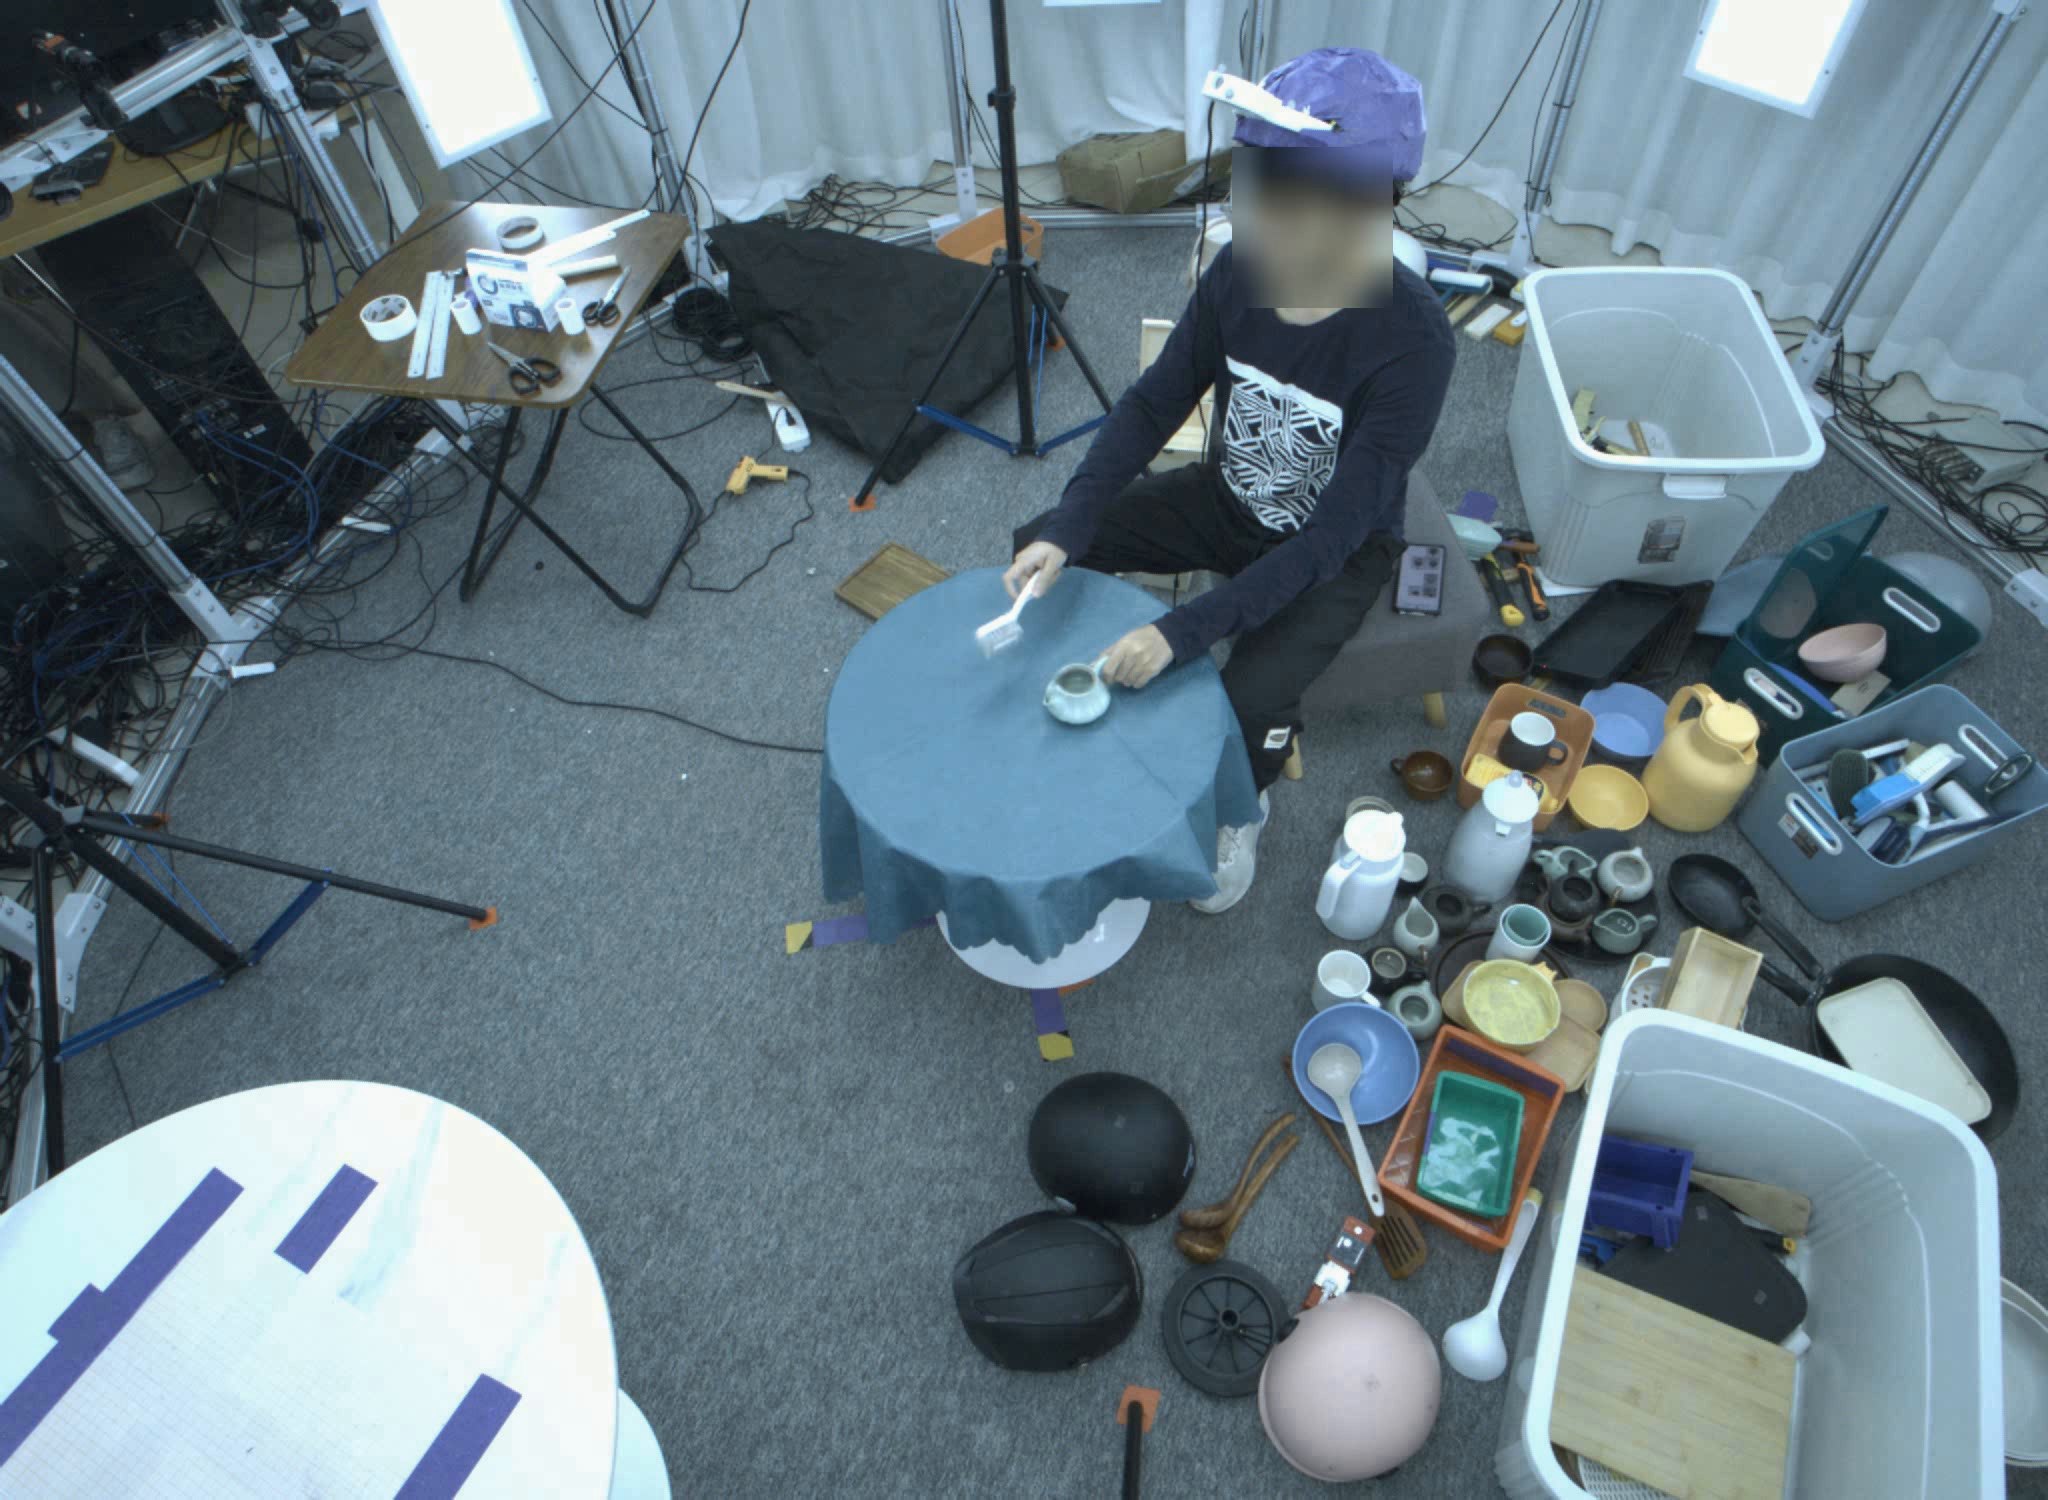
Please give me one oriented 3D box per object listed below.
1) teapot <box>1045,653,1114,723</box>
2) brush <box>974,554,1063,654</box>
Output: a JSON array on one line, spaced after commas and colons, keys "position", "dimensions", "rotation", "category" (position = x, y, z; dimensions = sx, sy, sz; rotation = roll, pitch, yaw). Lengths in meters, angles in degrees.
[{"position": [0.083, -0.089, 1.802], "dimensions": [0.138, 0.062, 0.094], "rotation": [-39, 58, -21], "category": "teapot"}, {"position": [0.007, -0.221, 1.840], "dimensions": [0.049, 0.034, 0.245], "rotation": [31, 51, 14], "category": "brush"}]
